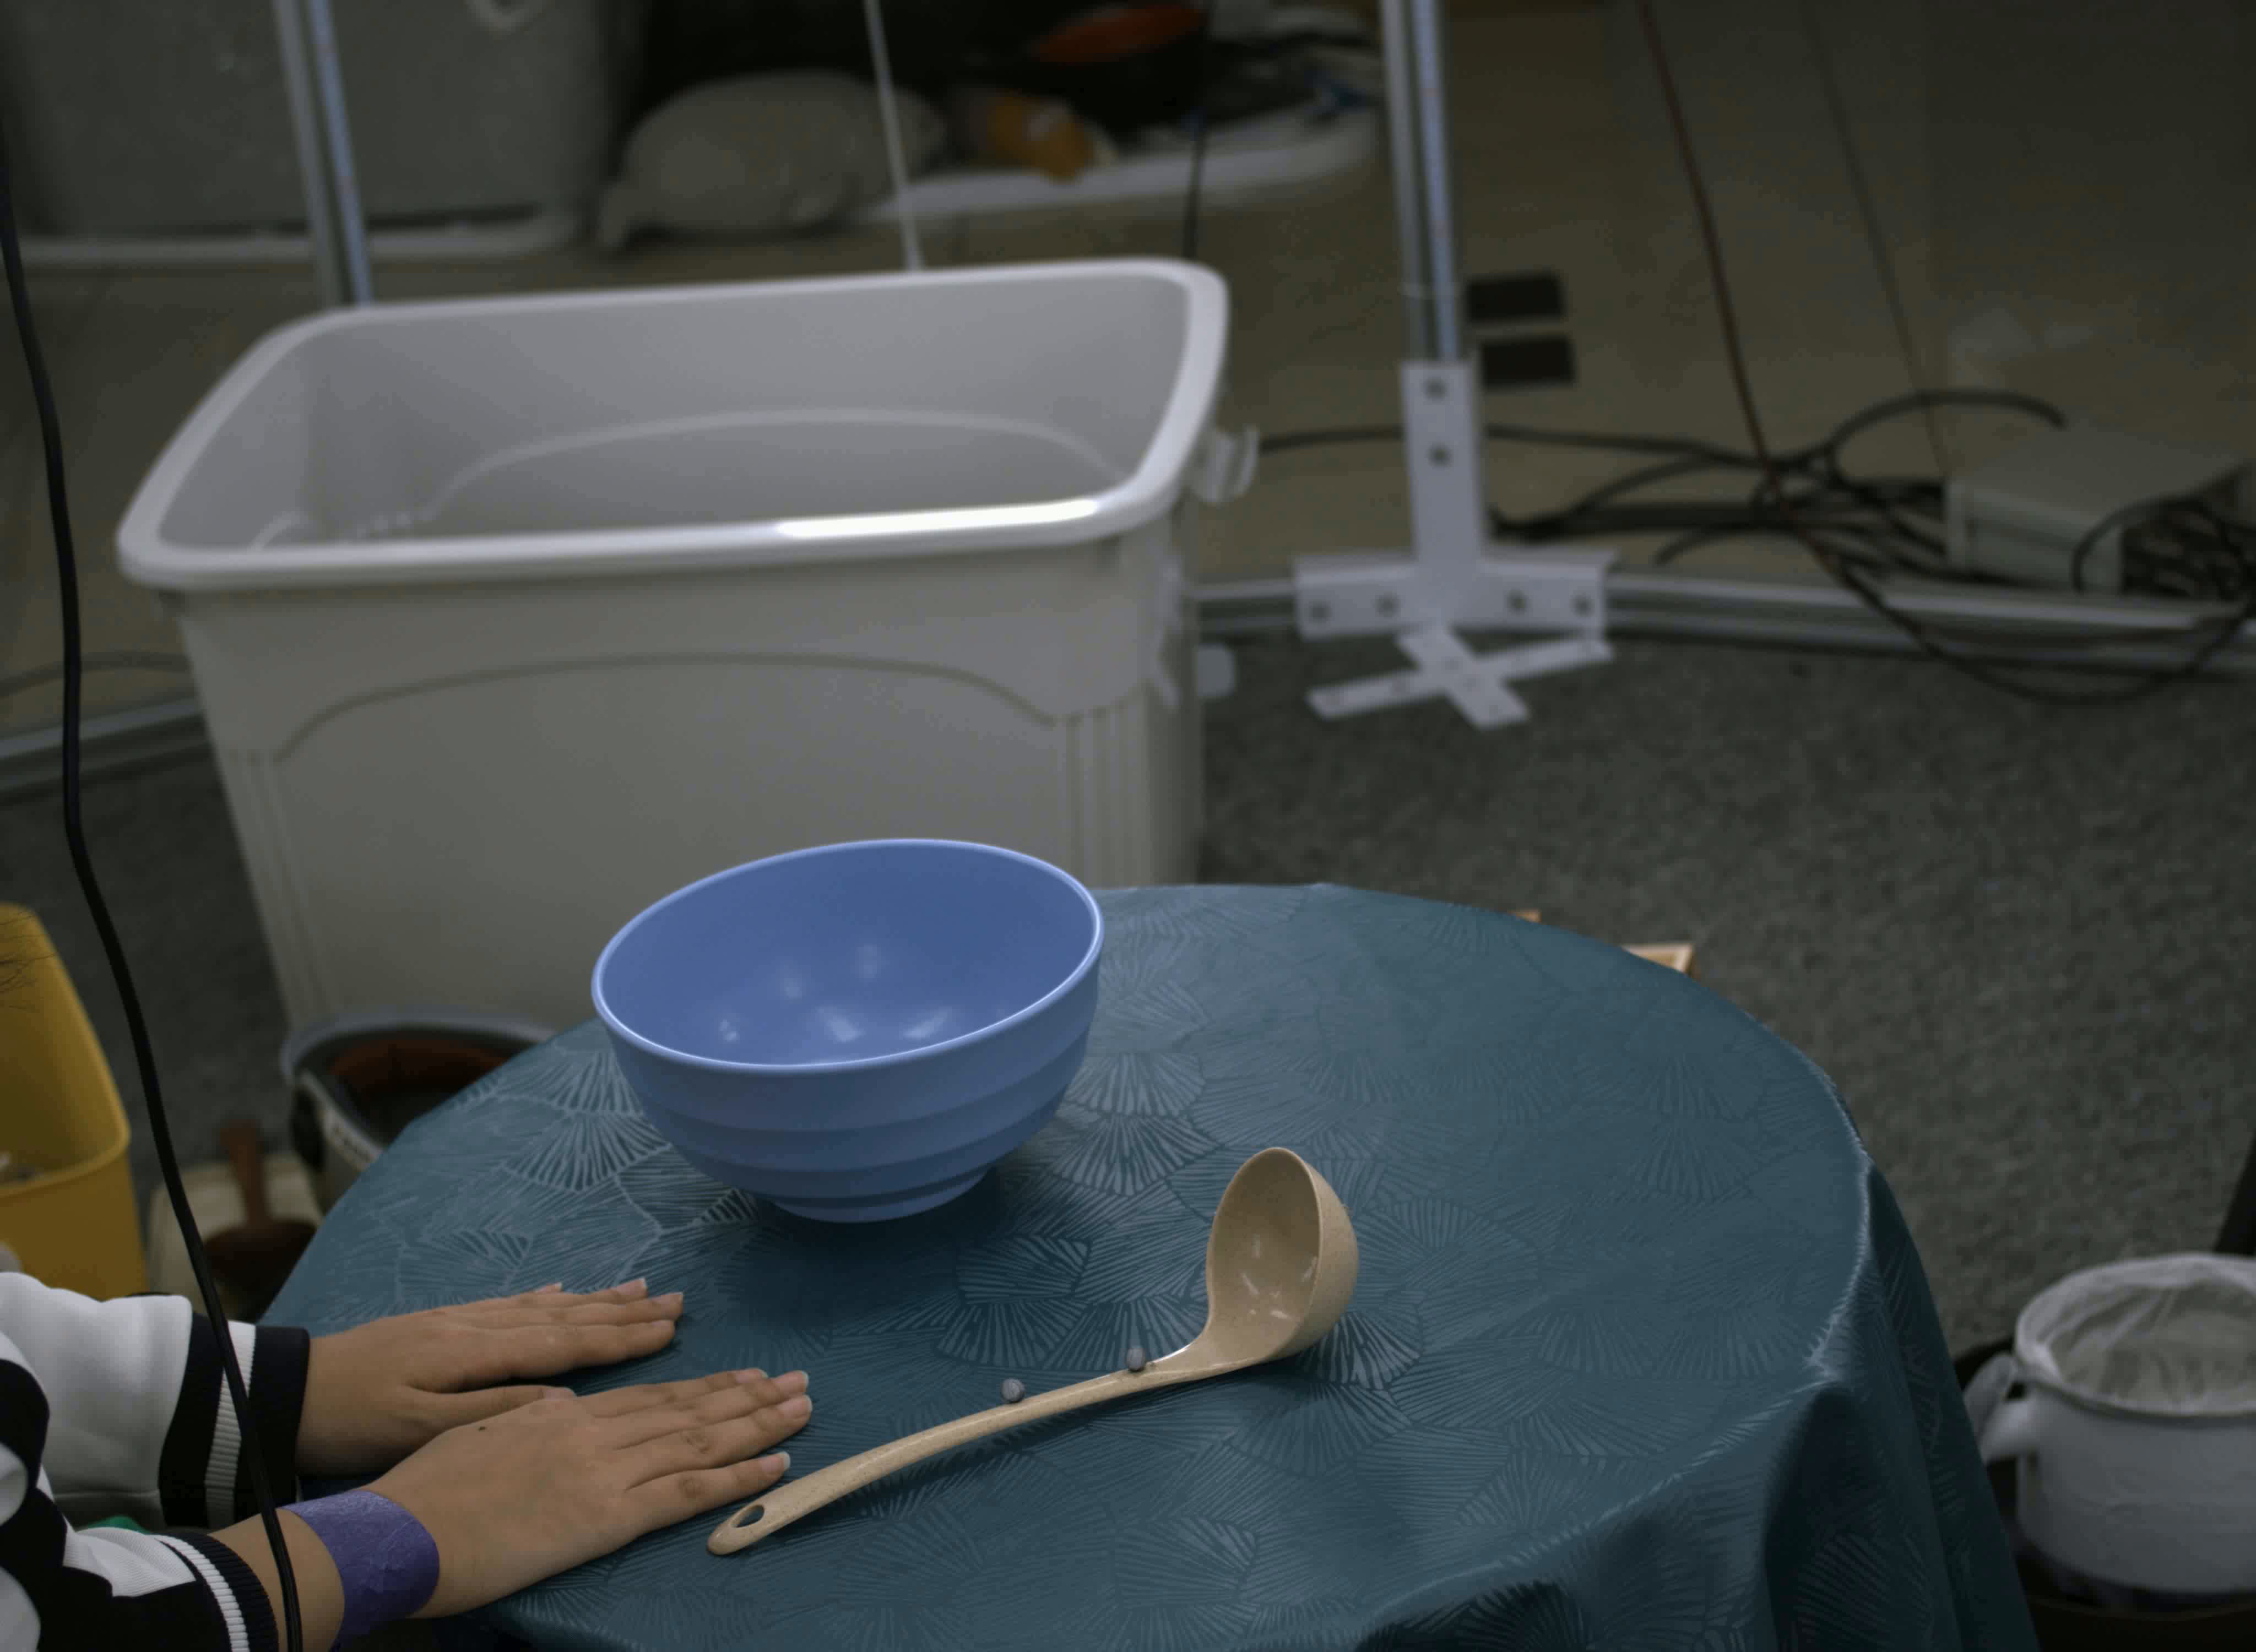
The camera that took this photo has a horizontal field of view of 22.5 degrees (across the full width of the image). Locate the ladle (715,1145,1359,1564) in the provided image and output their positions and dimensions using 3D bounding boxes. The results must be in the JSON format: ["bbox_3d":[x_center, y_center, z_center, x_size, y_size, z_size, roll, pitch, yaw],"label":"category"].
[{"bbox_3d":[-0.035,0.181,1.979,0.253,0.074,0.071,-19,27,-24],"label":"ladle"}]

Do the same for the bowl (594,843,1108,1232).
[{"bbox_3d":[-0.101,0.092,2.169,0.196,0.097,0.193,-5,26,3],"label":"bowl"}]
